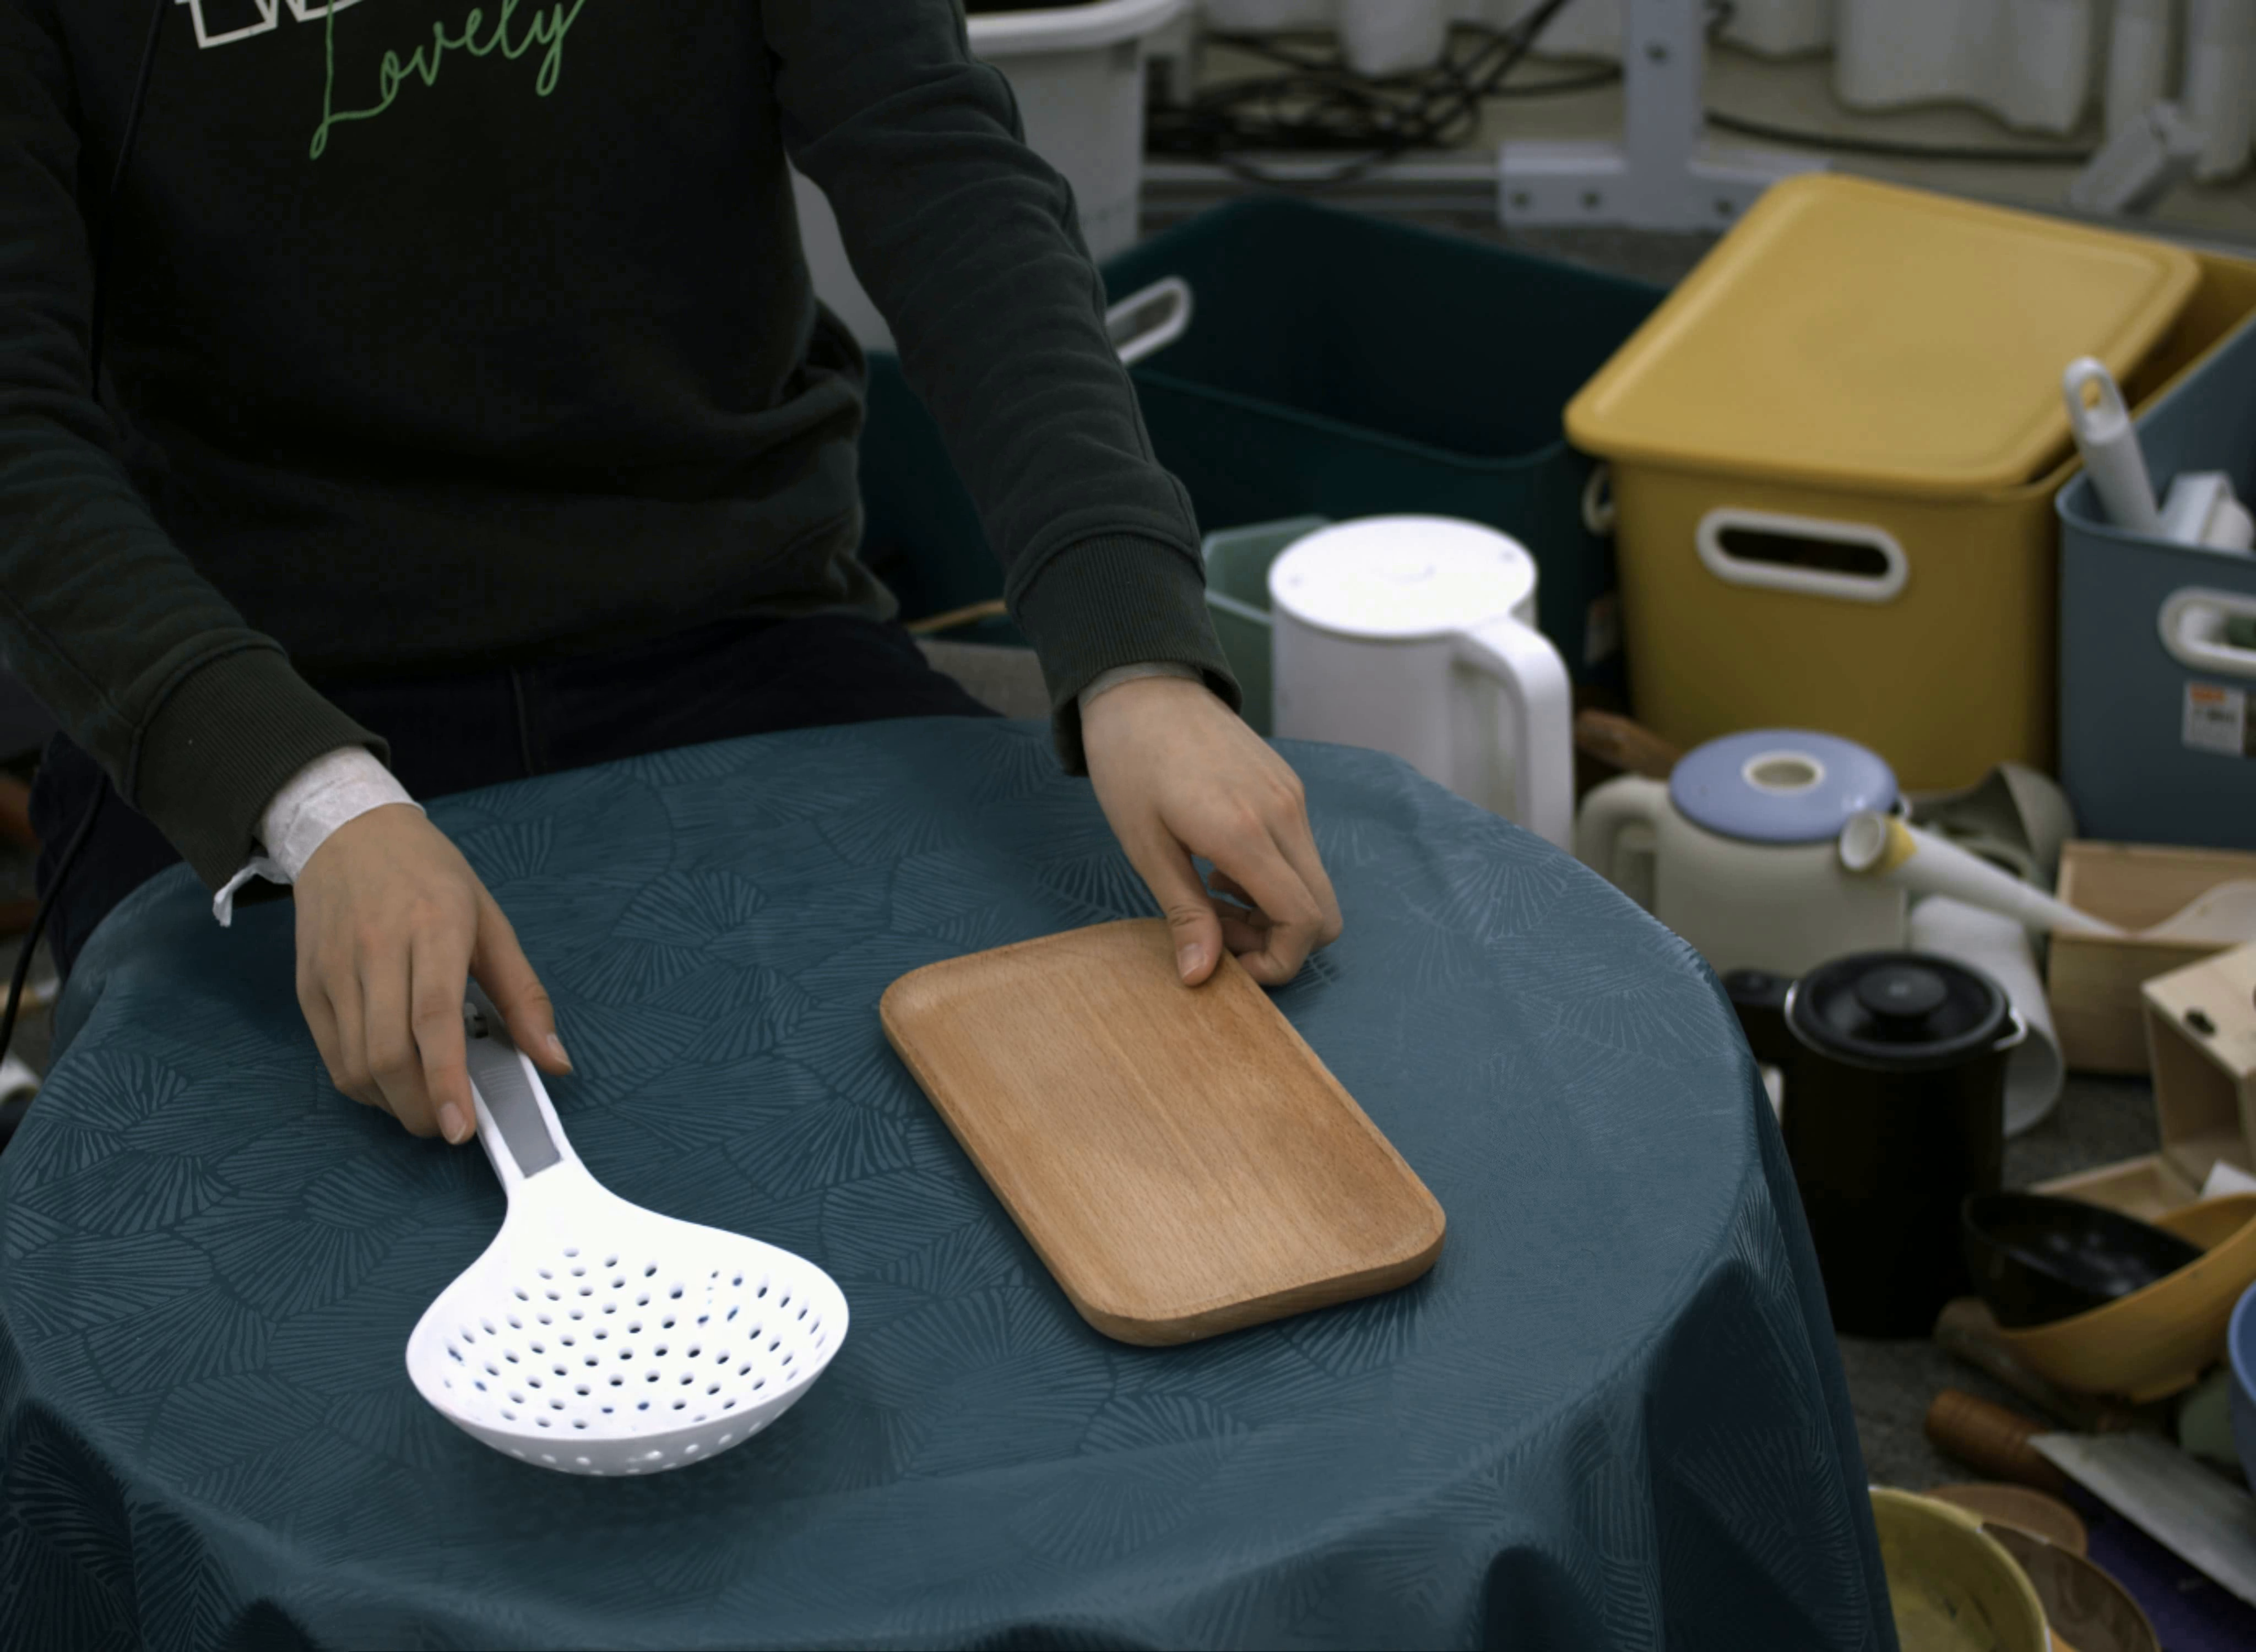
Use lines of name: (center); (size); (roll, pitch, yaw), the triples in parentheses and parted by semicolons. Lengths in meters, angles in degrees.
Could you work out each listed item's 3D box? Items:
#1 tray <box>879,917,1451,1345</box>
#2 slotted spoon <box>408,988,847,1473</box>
tray: (0.009, 0.100, 1.885); (0.131, 0.022, 0.252); (-10, 27, -18)
slotted spoon: (-0.185, 0.125, 1.824); (0.136, 0.045, 0.353); (-8, 27, -15)
